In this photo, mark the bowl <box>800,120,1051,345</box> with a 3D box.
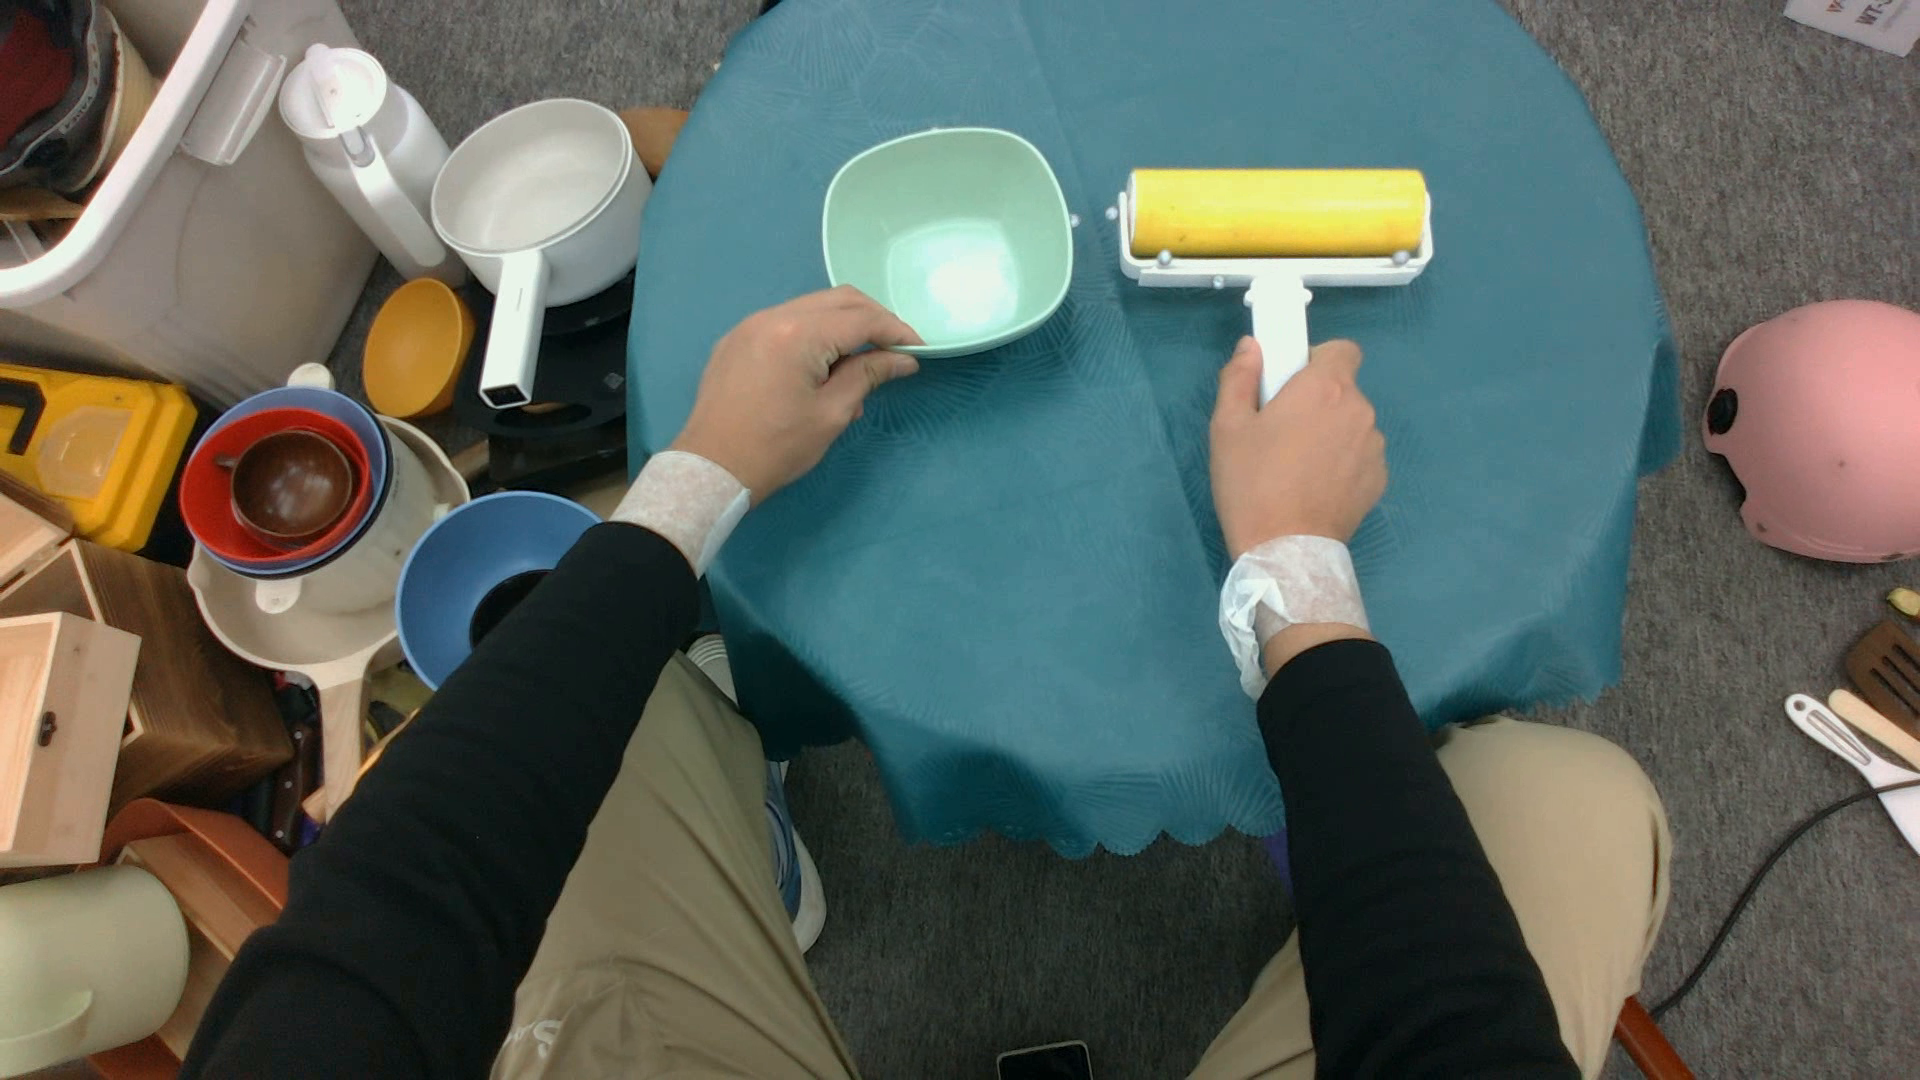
[{"bbox_3d":[-0.019,-0.166,0.792,0.151,0.058,0.152,0,69,1],"label":"bowl"}]

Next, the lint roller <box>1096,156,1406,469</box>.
[{"bbox_3d":[0.168,-0.131,0.754,0.174,0.051,0.193,-2,58,-1],"label":"lint roller"}]
